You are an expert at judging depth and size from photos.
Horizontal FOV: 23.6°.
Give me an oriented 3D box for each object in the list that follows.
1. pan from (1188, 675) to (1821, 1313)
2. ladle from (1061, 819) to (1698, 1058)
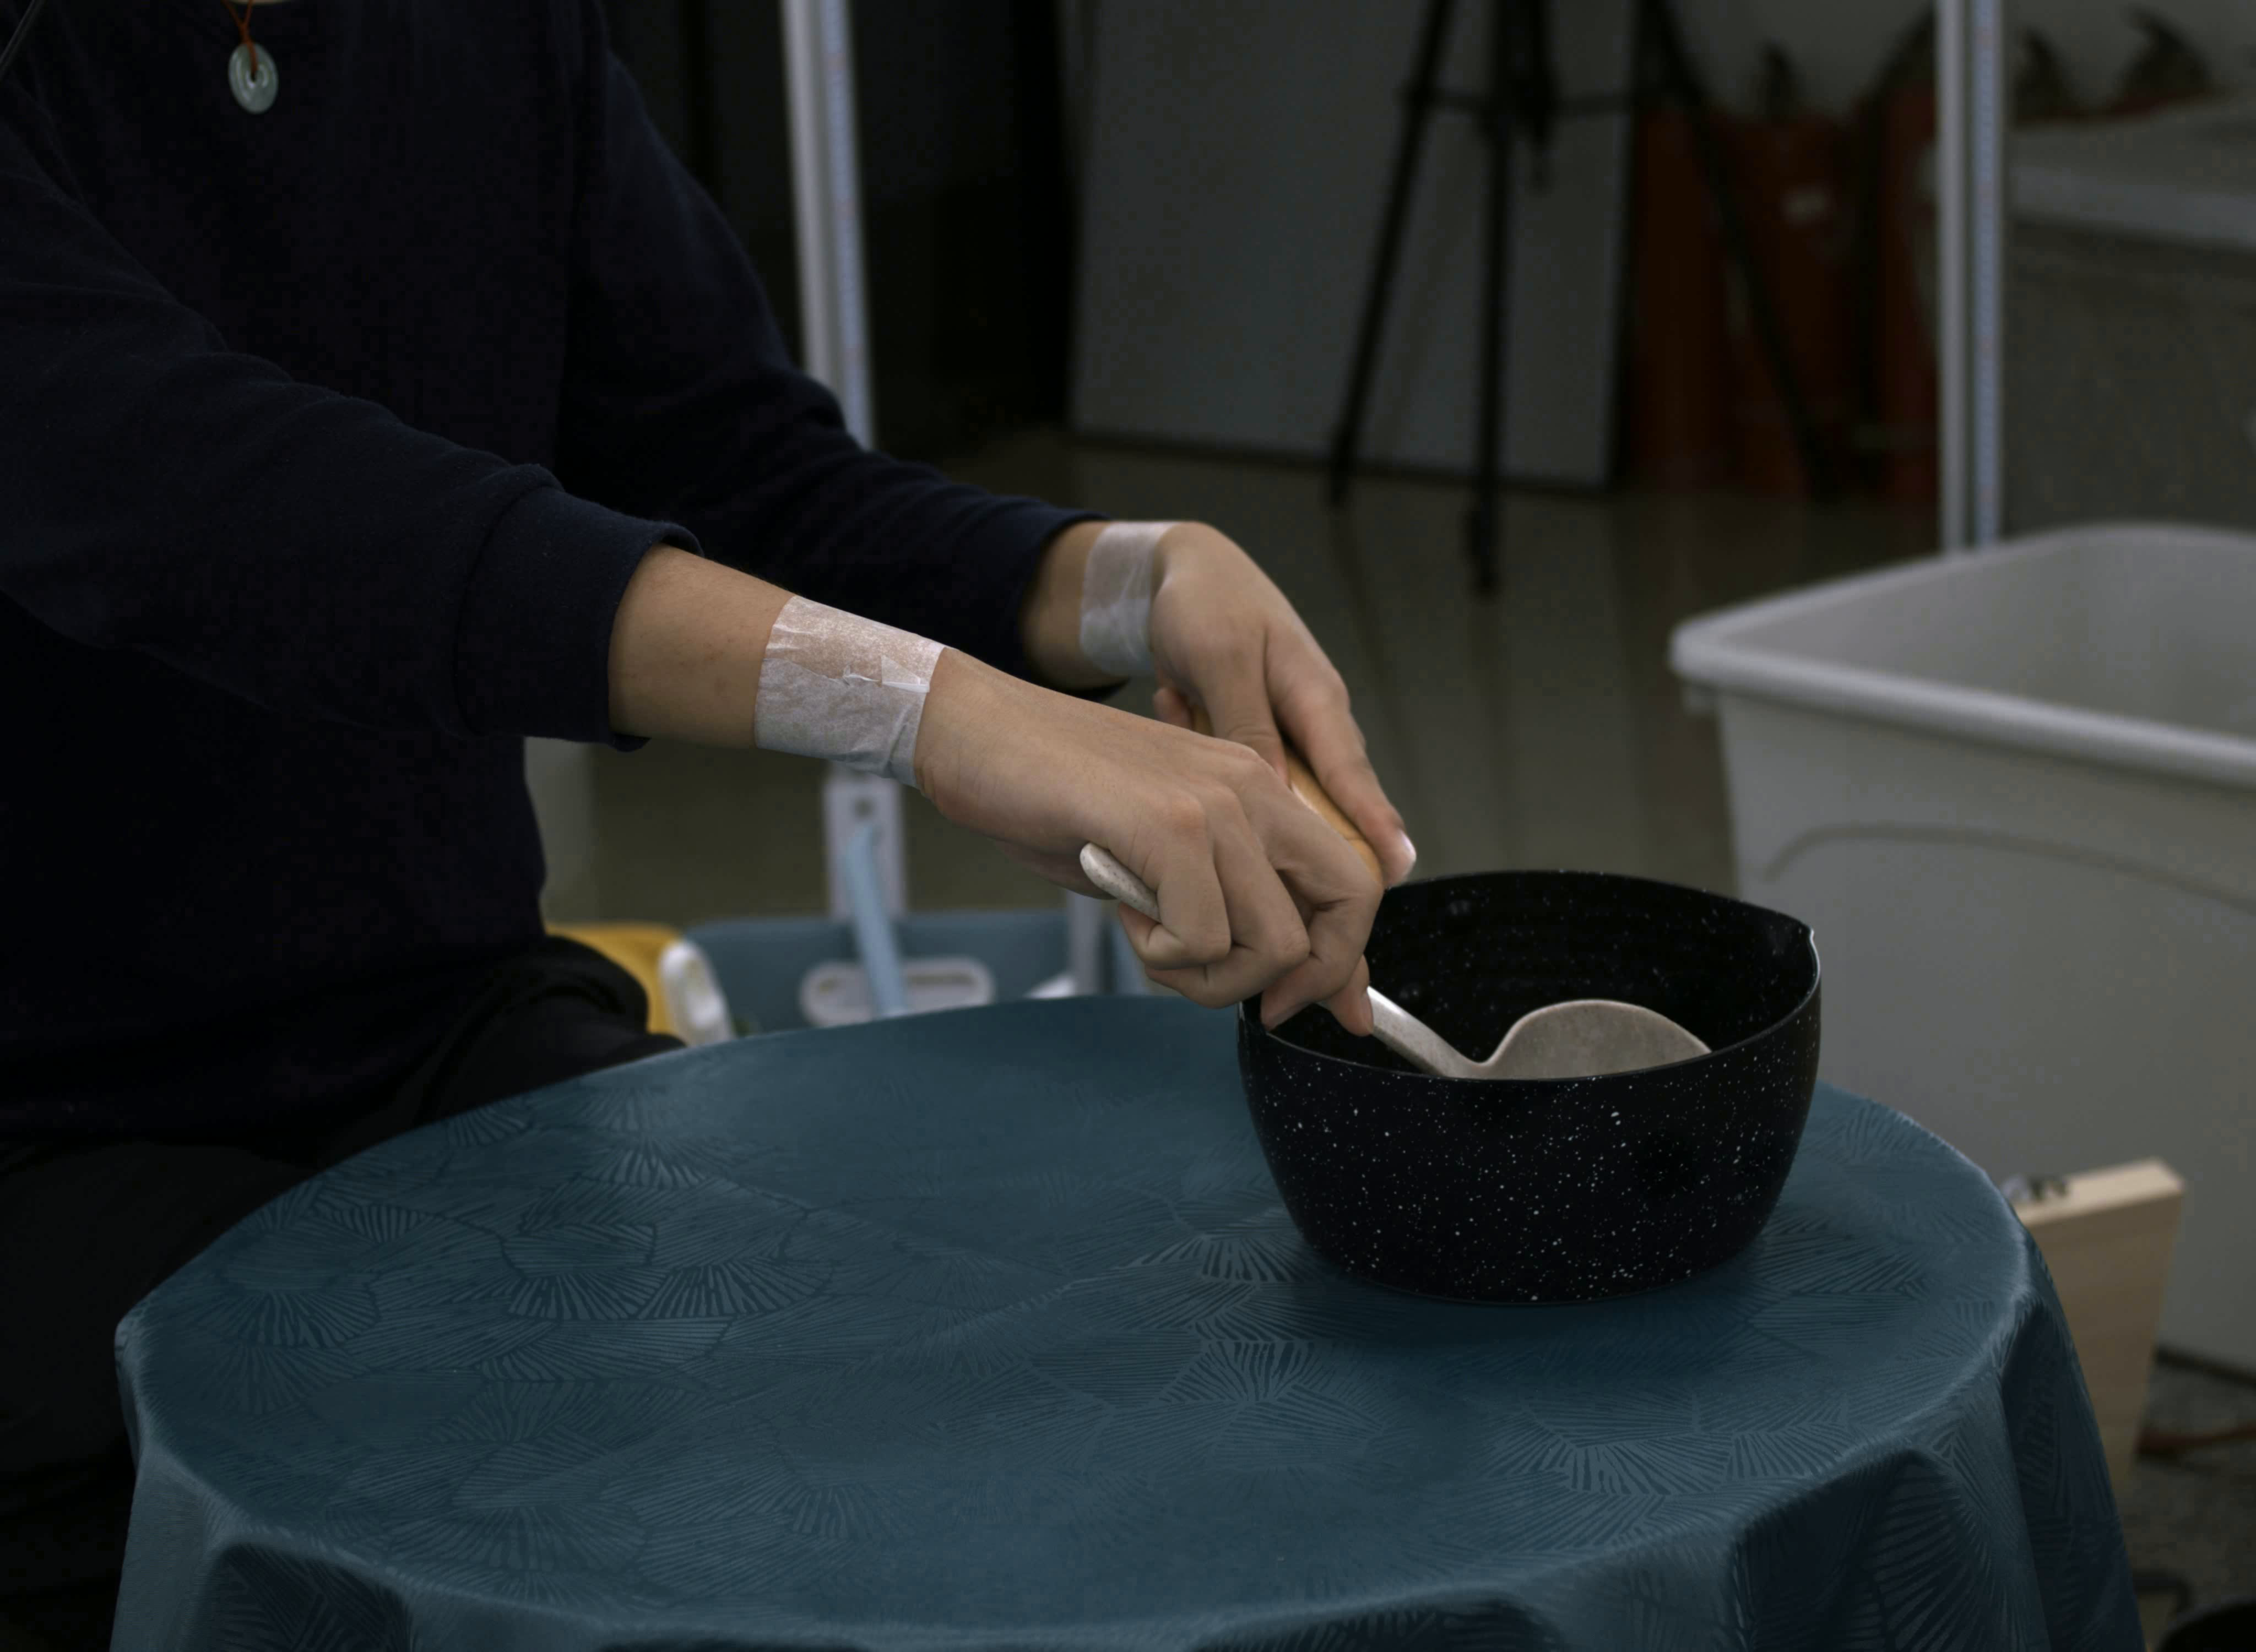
[{"bbox_3d":[0.094,0.049,1.756,0.203,0.109,0.346,-12,22,-20],"label":"pan"},{"bbox_3d":[0.086,0.043,1.615,0.069,0.090,0.270,-32,-42,22],"label":"ladle"}]
